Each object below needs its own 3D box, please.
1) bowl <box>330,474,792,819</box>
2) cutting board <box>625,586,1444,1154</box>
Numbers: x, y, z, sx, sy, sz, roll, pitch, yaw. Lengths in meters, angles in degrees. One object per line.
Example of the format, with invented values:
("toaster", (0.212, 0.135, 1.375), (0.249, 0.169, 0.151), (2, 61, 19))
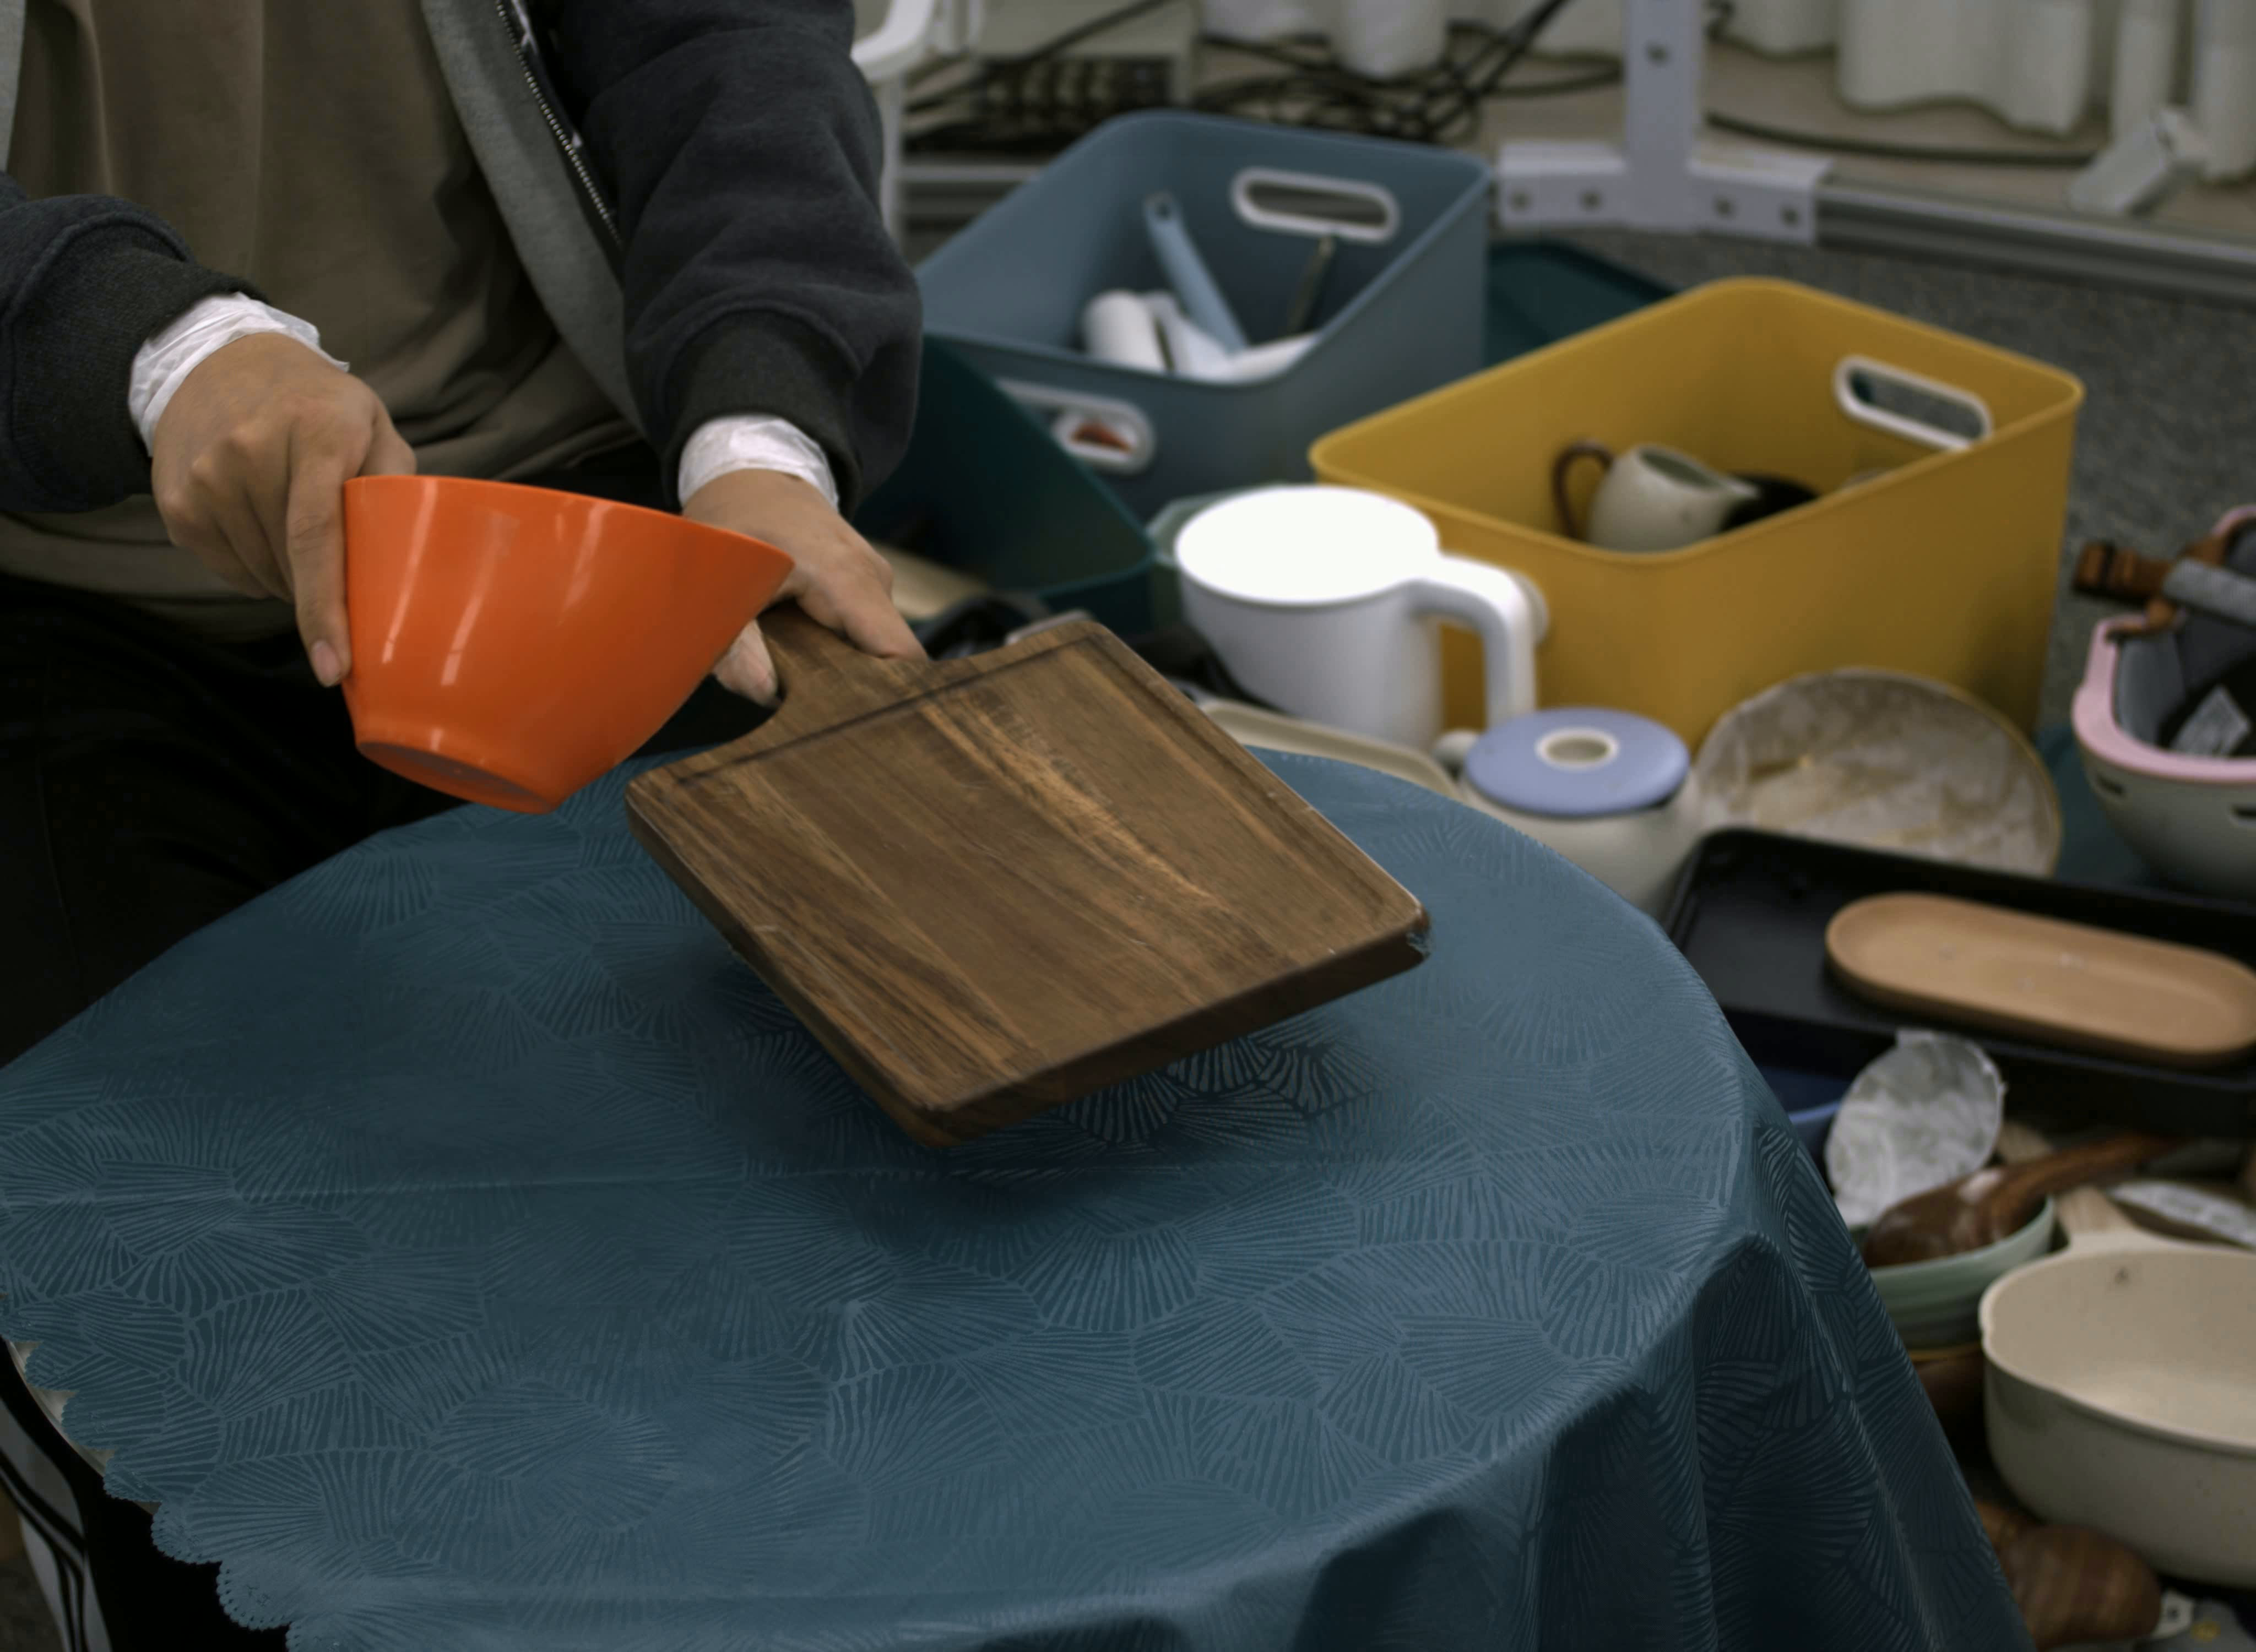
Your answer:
("bowl", (-0.193, -0.058, 1.818), (0.147, 0.106, 0.147), (16, -11, 4))
("cutting board", (-0.059, -0.006, 1.983), (0.202, 0.023, 0.354), (-20, 34, -22))
